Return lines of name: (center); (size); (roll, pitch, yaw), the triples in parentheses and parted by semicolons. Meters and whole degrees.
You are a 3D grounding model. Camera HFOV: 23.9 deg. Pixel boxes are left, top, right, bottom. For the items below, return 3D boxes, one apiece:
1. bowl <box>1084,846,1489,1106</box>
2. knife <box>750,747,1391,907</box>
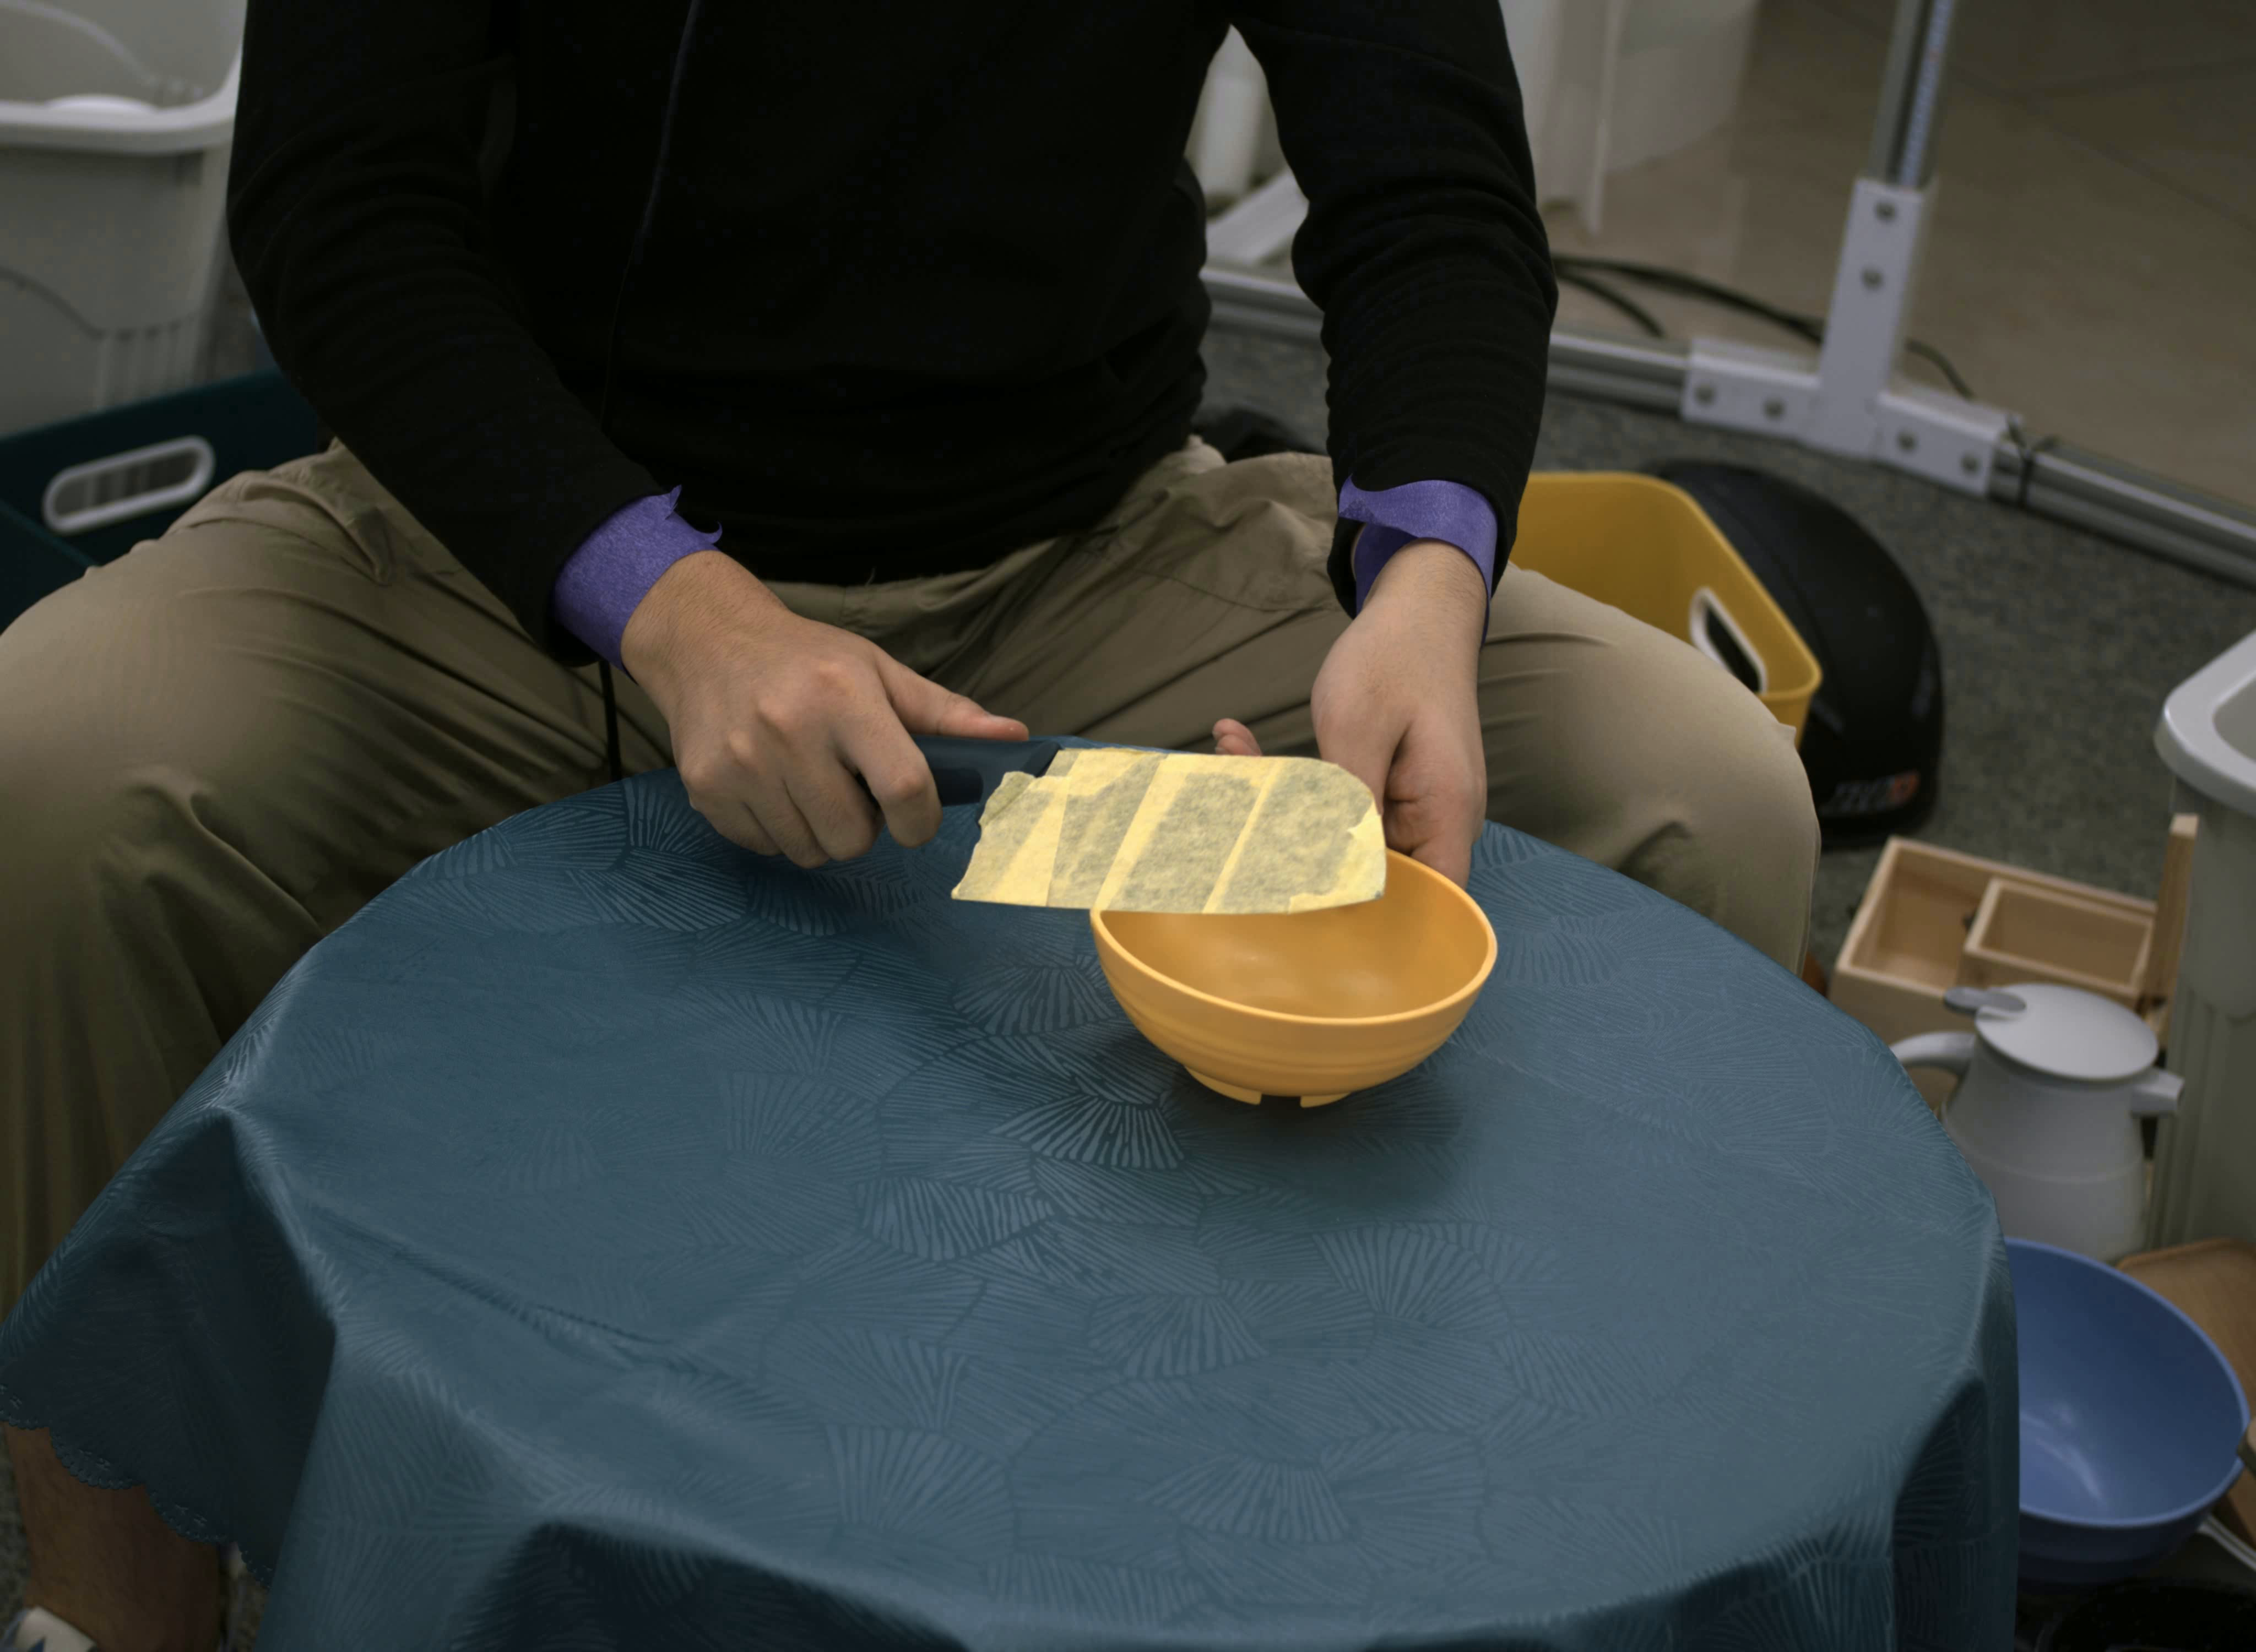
bowl: (0.051, 0.057, 1.877); (0.145, 0.060, 0.146); (8, 26, -4)
knife: (-0.027, -0.001, 1.895); (0.291, 0.027, 0.081); (3, 48, 37)
